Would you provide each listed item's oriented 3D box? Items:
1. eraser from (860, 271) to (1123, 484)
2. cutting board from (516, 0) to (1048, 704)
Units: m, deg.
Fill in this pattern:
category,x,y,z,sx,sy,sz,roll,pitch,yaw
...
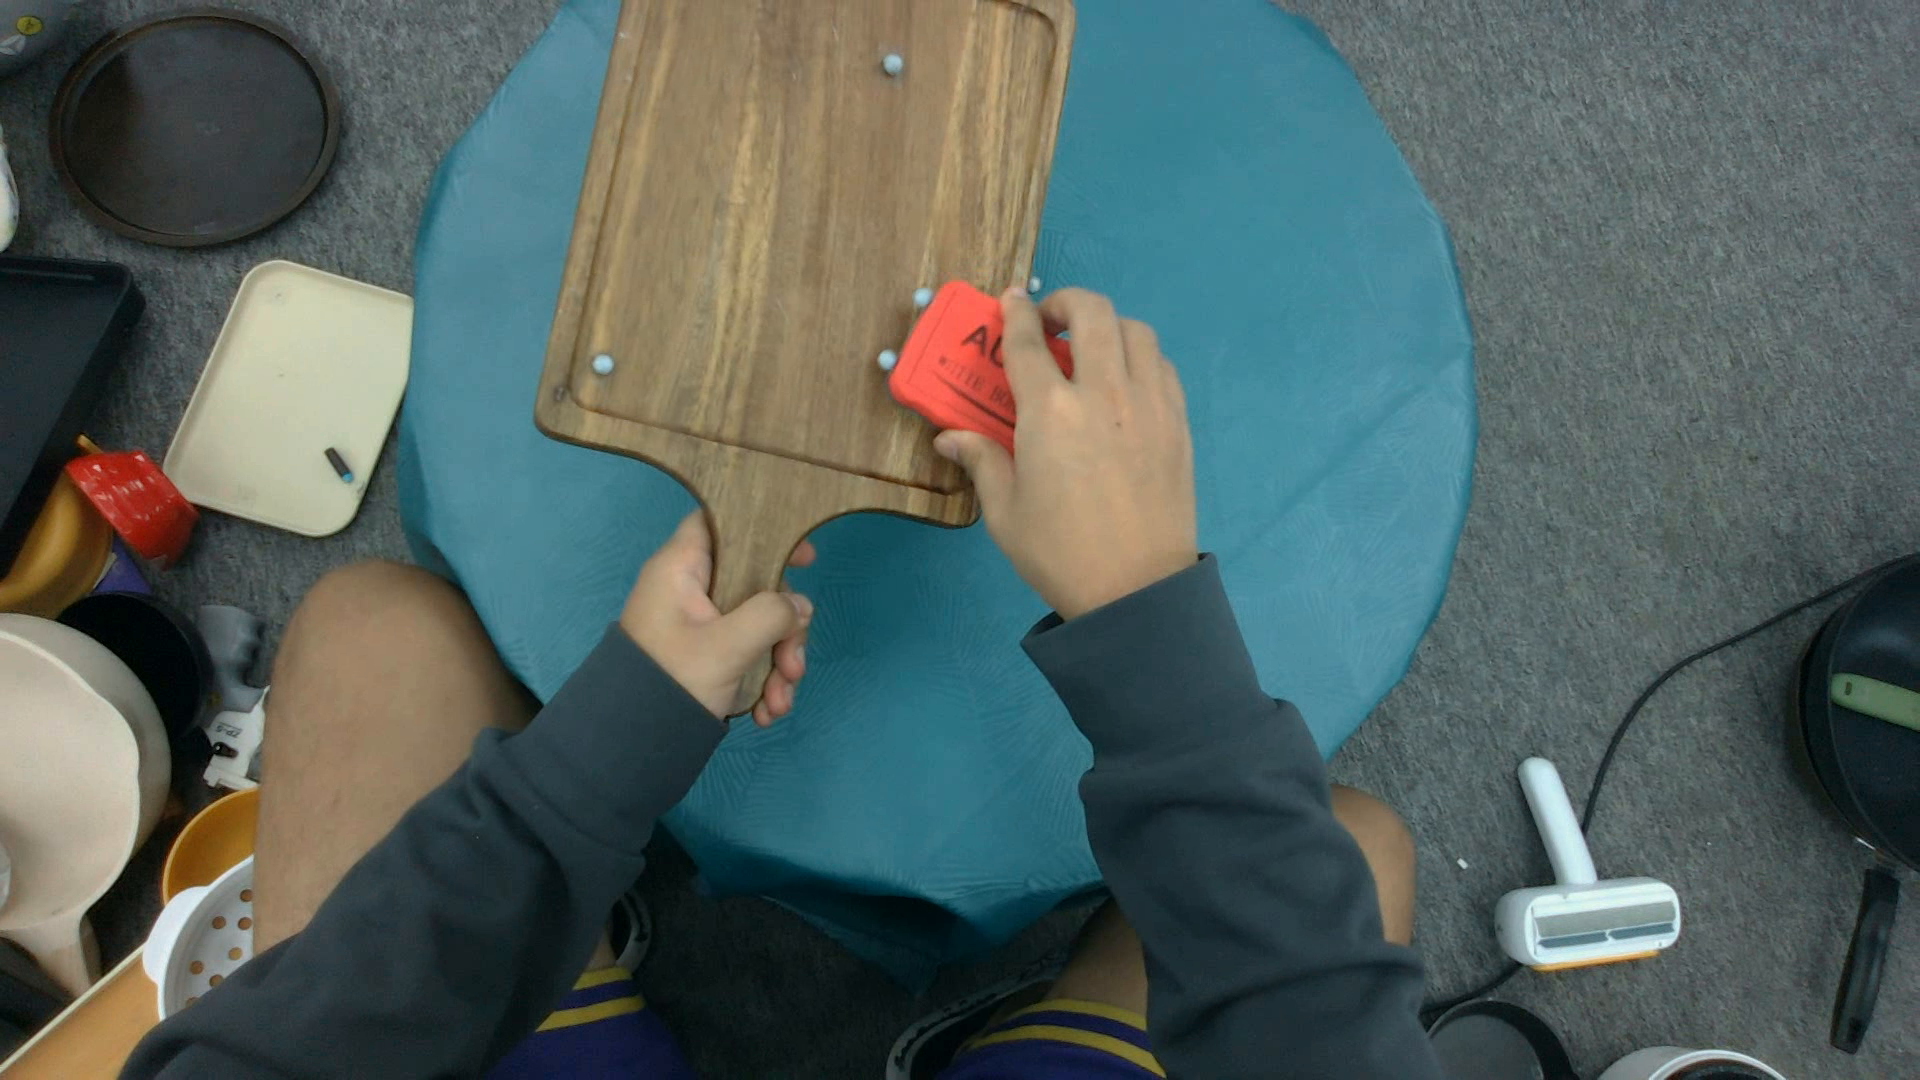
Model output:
category,x,y,z,sx,sy,sz,roll,pitch,yaw
eraser,0.014,-0.070,0.603,0.108,0.023,0.059,25,81,-14
cutting board,-0.078,-0.105,0.595,0.201,0.023,0.352,12,85,-20
